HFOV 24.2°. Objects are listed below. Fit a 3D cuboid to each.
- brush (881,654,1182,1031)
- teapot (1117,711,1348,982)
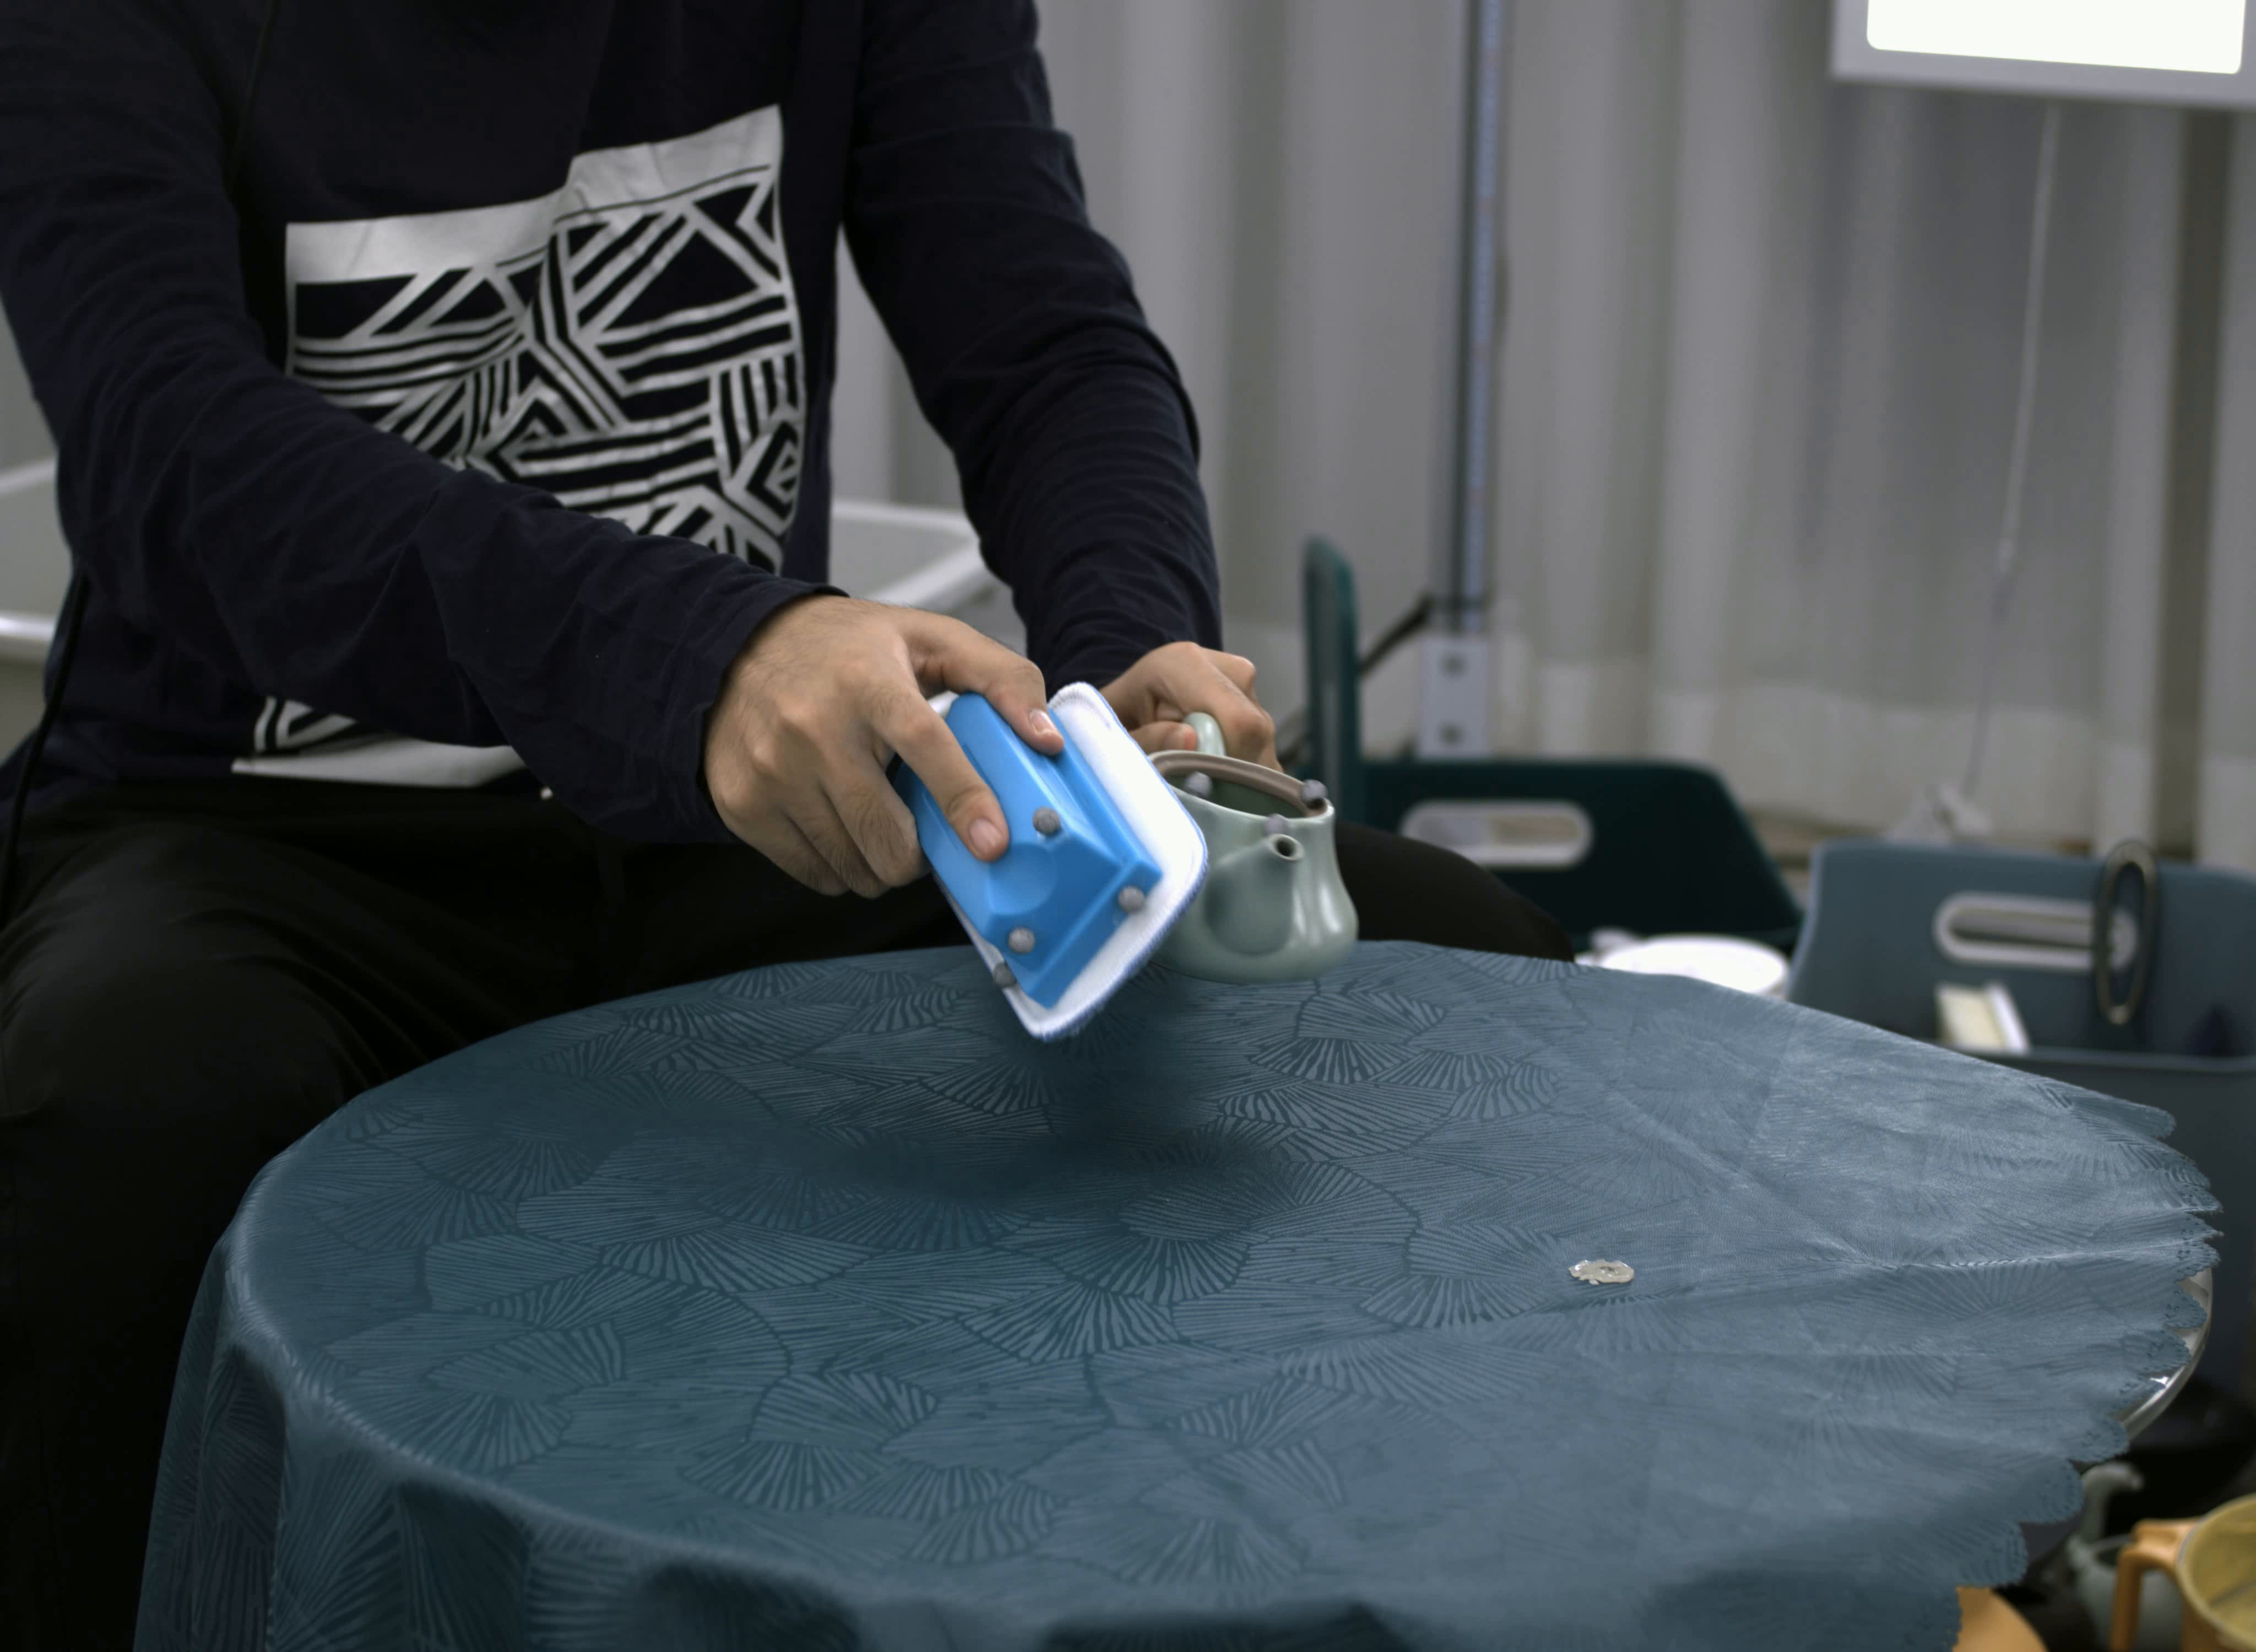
[{"bbox_3d":[-0.038,-0.002,1.622,0.056,0.084,0.142,38,12,-35],"label":"brush"},{"bbox_3d":[0.024,0.010,1.657,0.096,0.062,0.135,10,18,-18],"label":"teapot"}]
